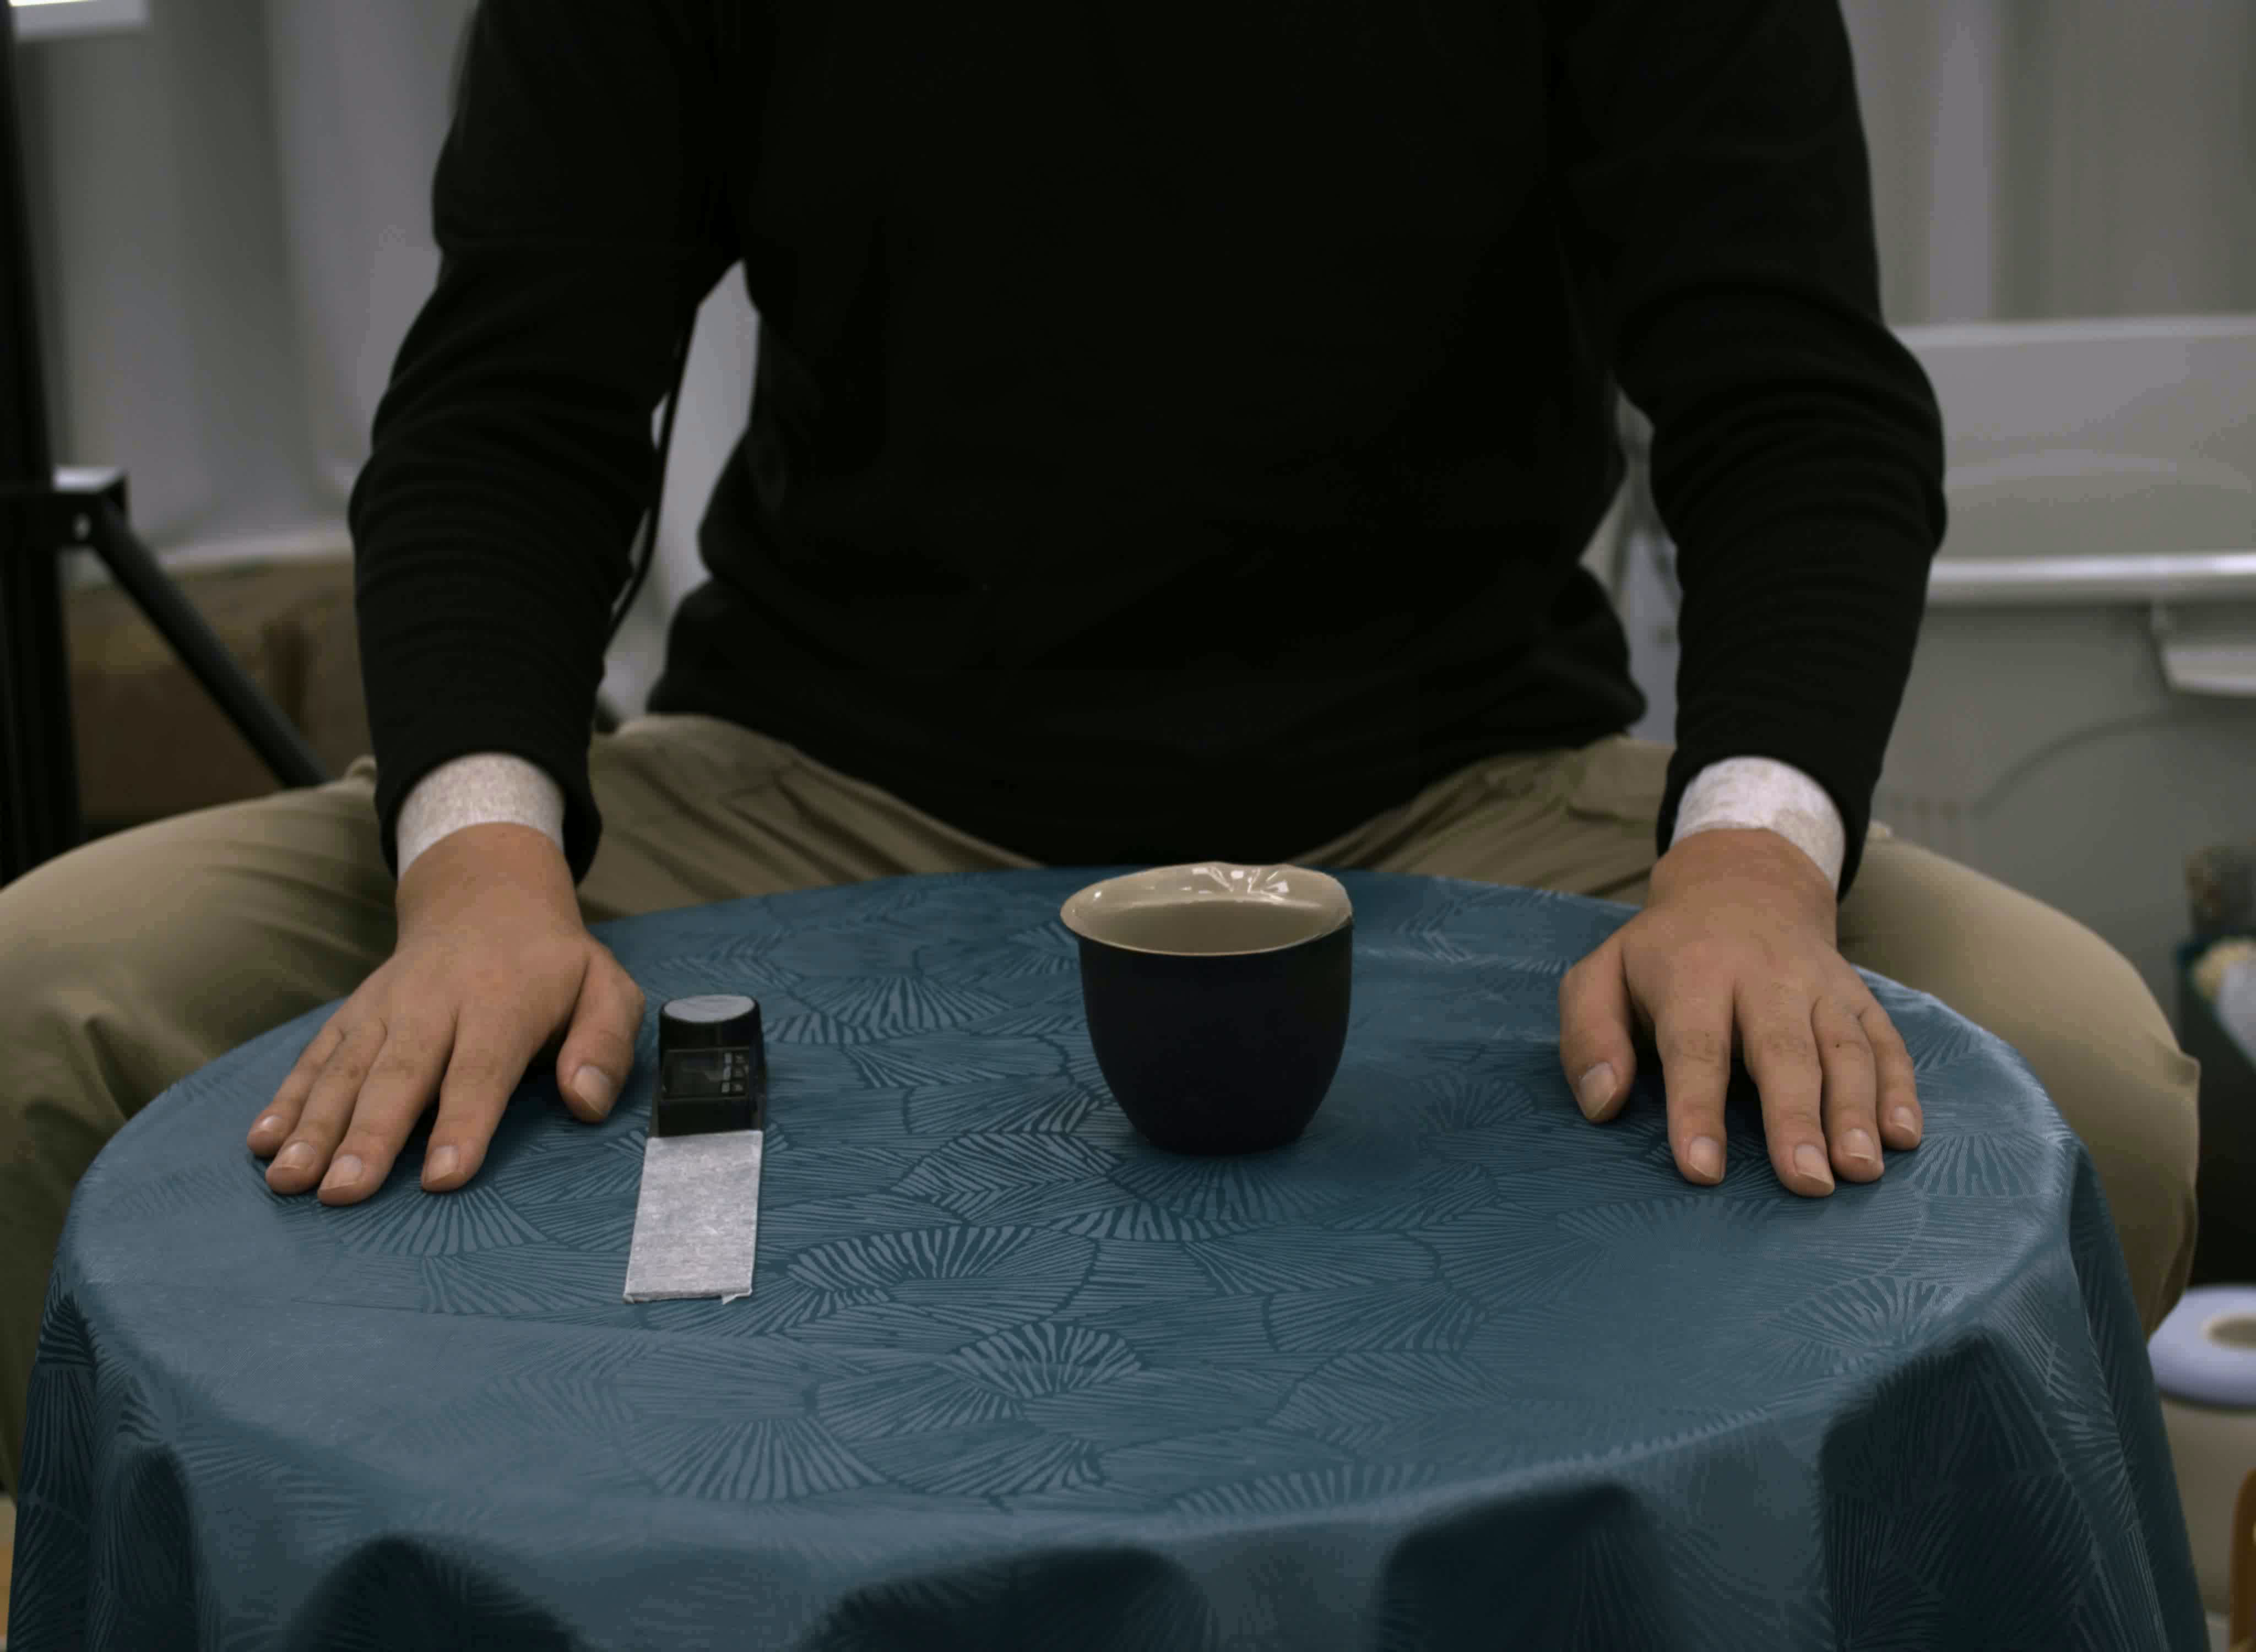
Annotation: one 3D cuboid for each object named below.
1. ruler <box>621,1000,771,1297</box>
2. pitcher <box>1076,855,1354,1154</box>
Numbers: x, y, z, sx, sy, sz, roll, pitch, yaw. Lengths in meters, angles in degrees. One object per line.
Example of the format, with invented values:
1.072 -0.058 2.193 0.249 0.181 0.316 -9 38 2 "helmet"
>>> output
-0.128 0.093 1.590 0.038 0.024 0.219 -9 15 1 "ruler"
0.029 0.056 1.603 0.084 0.071 0.095 1 17 16 "pitcher"
